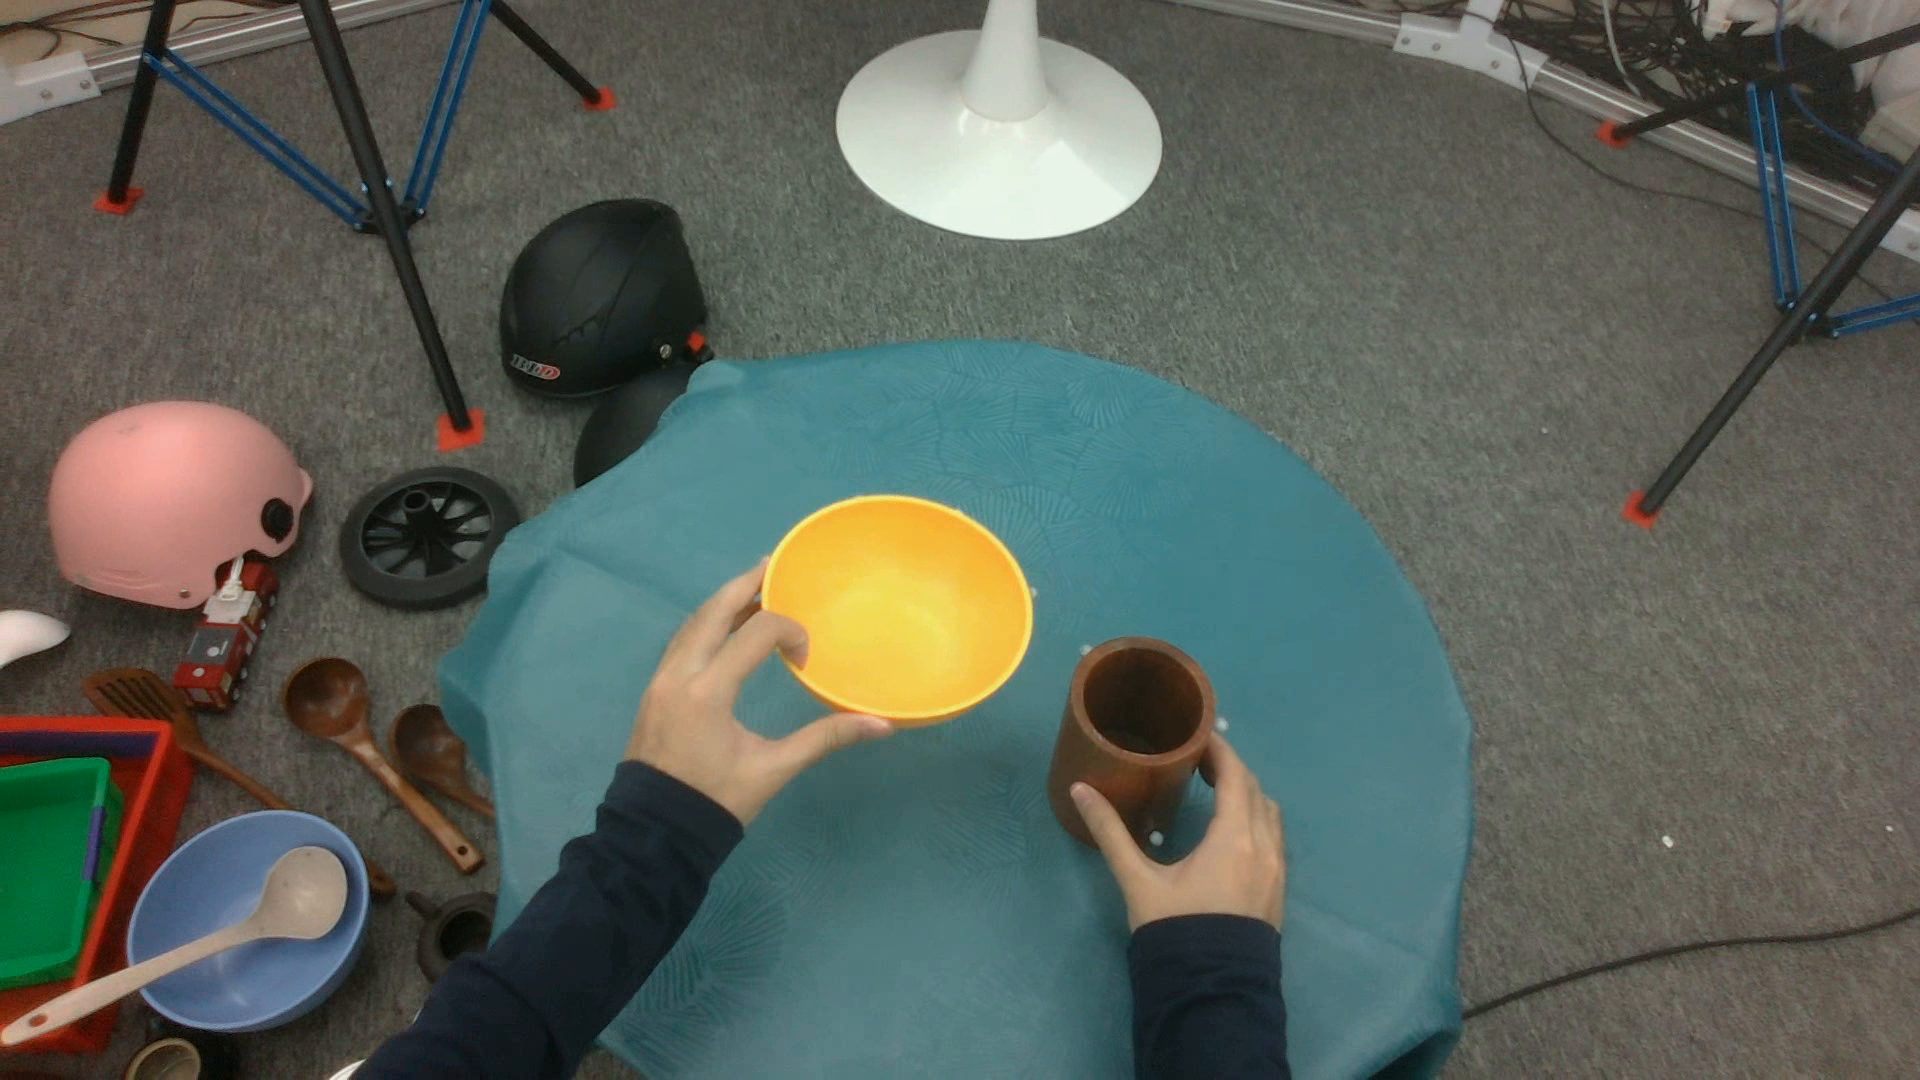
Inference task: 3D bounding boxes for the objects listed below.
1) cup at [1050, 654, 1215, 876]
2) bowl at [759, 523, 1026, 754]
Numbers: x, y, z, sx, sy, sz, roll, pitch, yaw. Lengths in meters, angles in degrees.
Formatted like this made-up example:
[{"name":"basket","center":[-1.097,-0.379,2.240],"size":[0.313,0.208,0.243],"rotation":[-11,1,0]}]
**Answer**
[{"name":"cup","center":[0.095,0.131,0.783],"size":[0.088,0.118,0.088],"rotation":[0,52,0]},{"name":"bowl","center":[-0.039,0.064,0.766],"size":[0.145,0.060,0.146],"rotation":[5,52,-7]}]
